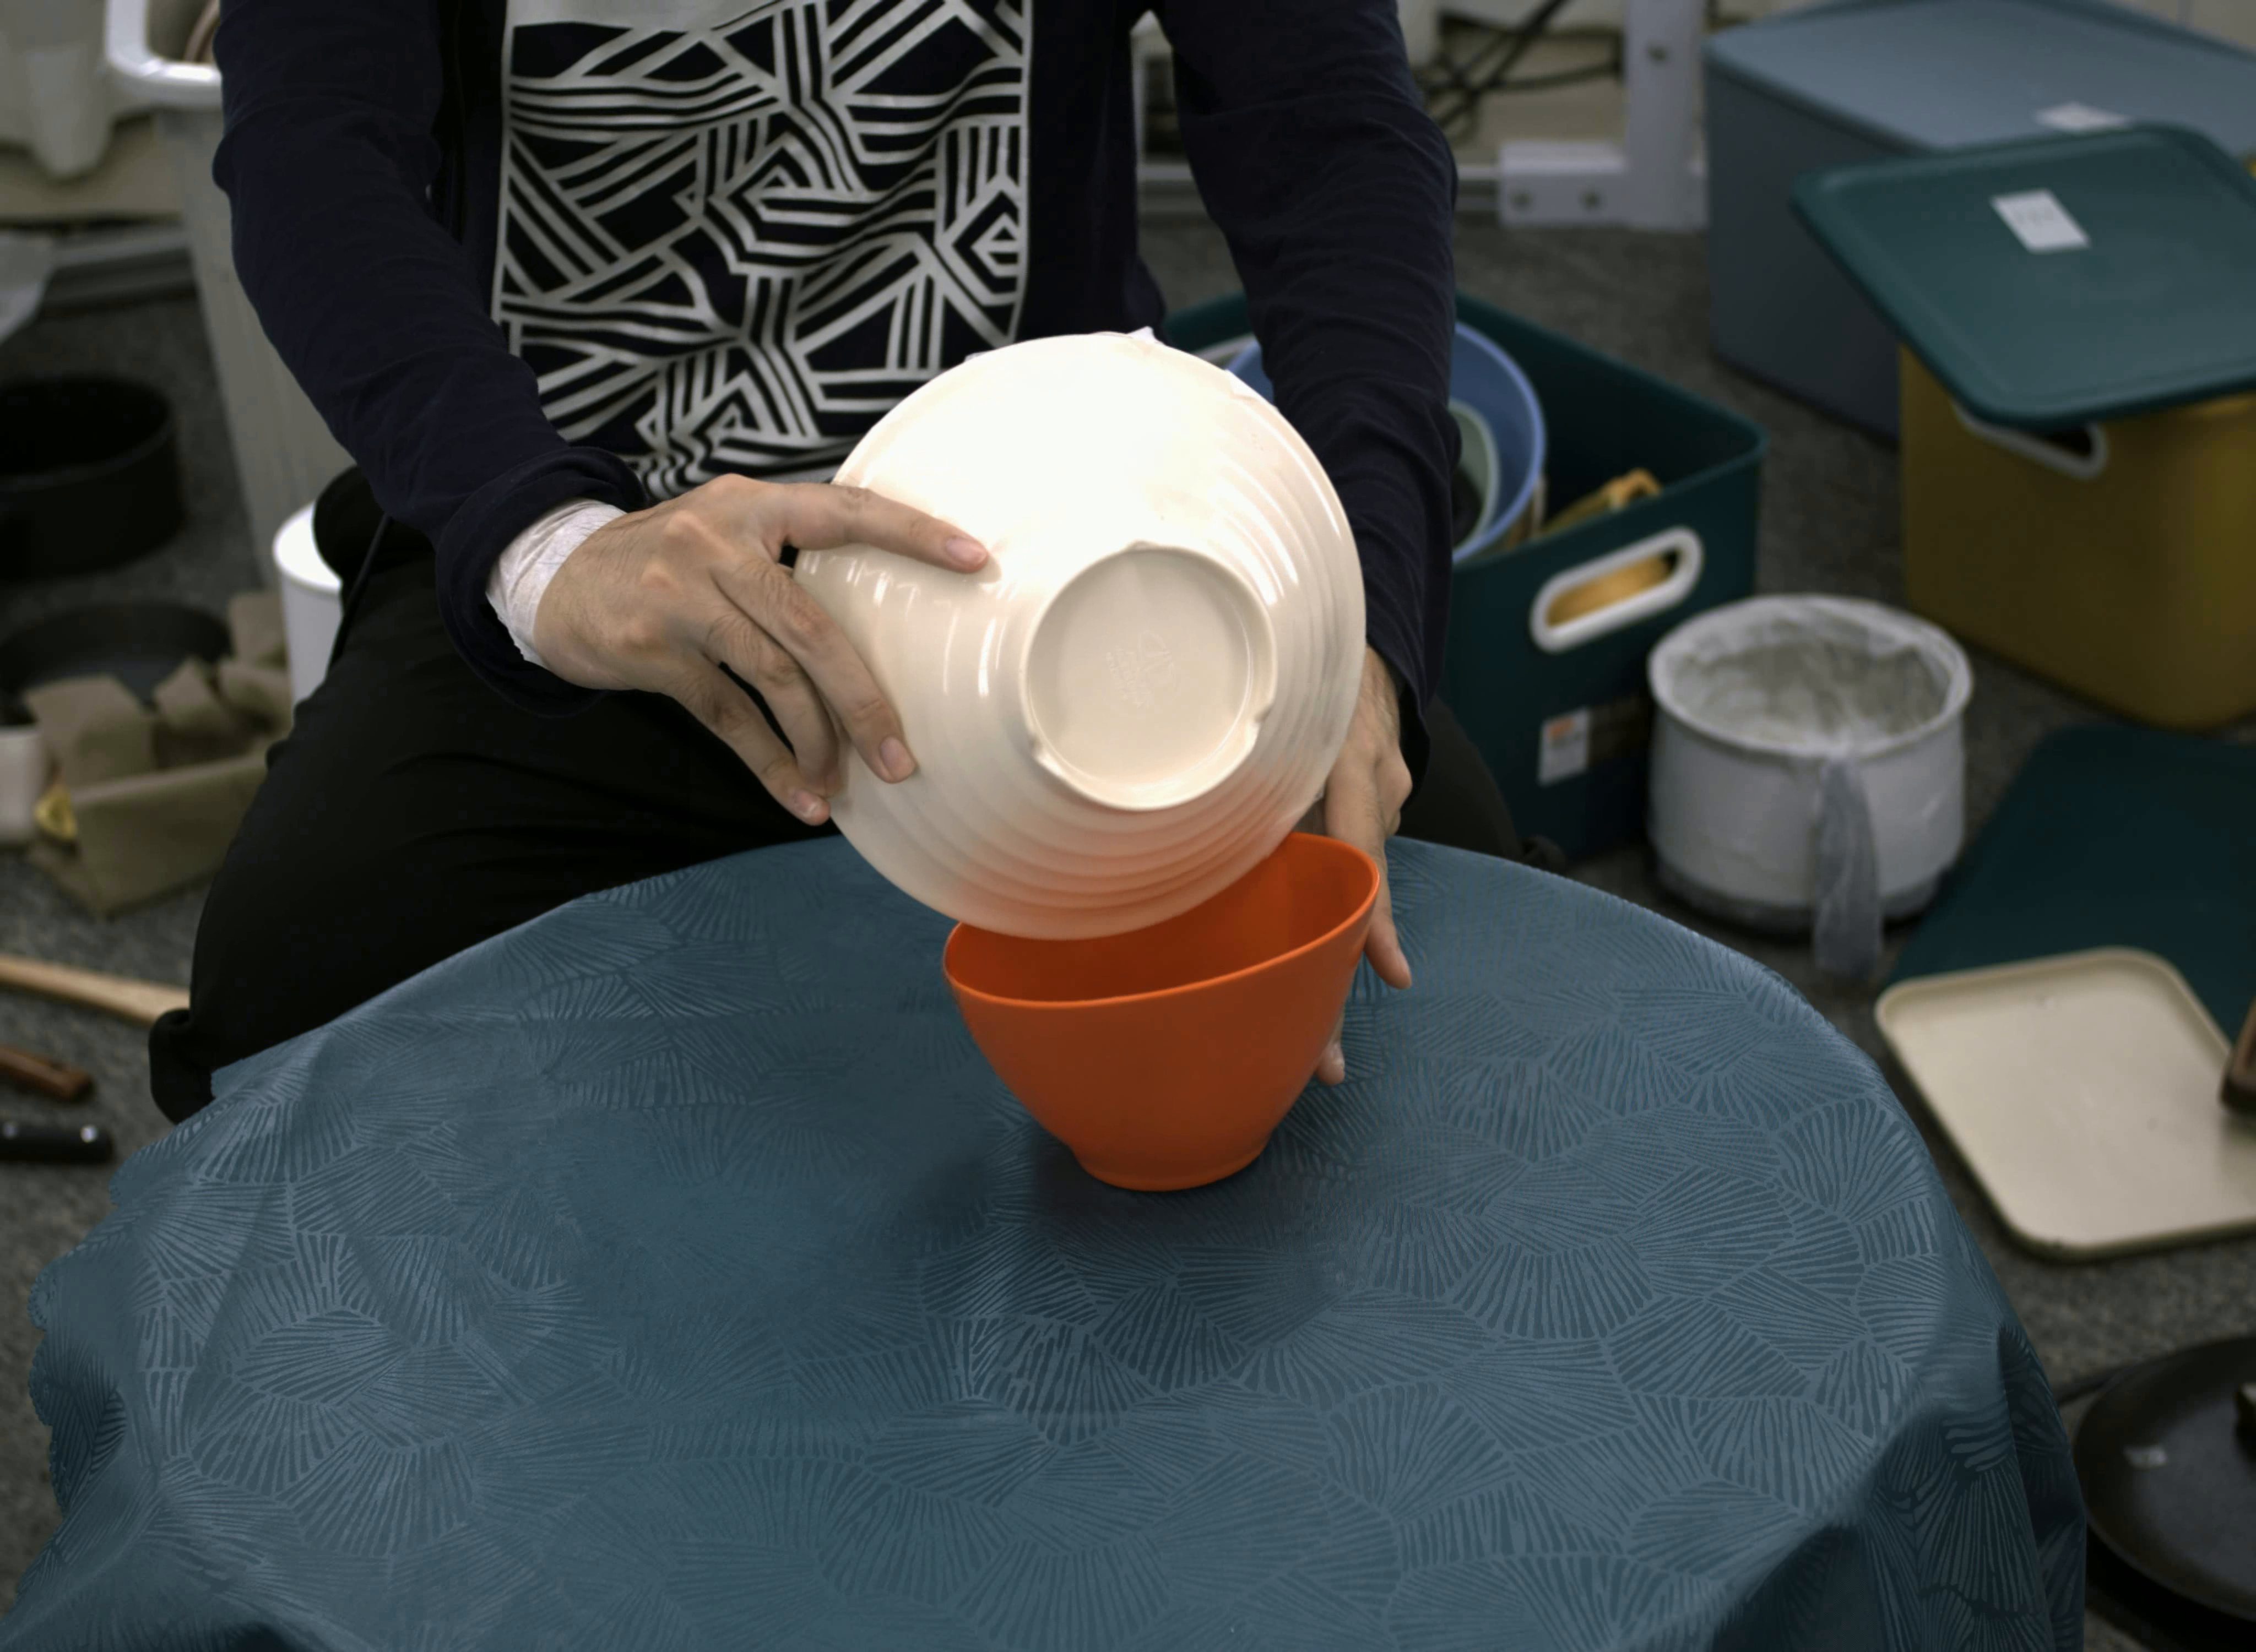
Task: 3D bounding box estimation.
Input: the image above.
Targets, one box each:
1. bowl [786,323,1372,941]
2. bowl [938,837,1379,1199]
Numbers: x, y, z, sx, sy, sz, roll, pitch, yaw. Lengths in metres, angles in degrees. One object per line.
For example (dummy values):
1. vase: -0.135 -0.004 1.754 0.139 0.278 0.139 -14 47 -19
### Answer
1. bowl: -0.003 -0.057 1.820 0.204 0.203 0.078 -12 11 -18
2. bowl: 0.014 0.067 1.856 0.147 0.104 0.150 -6 24 3
